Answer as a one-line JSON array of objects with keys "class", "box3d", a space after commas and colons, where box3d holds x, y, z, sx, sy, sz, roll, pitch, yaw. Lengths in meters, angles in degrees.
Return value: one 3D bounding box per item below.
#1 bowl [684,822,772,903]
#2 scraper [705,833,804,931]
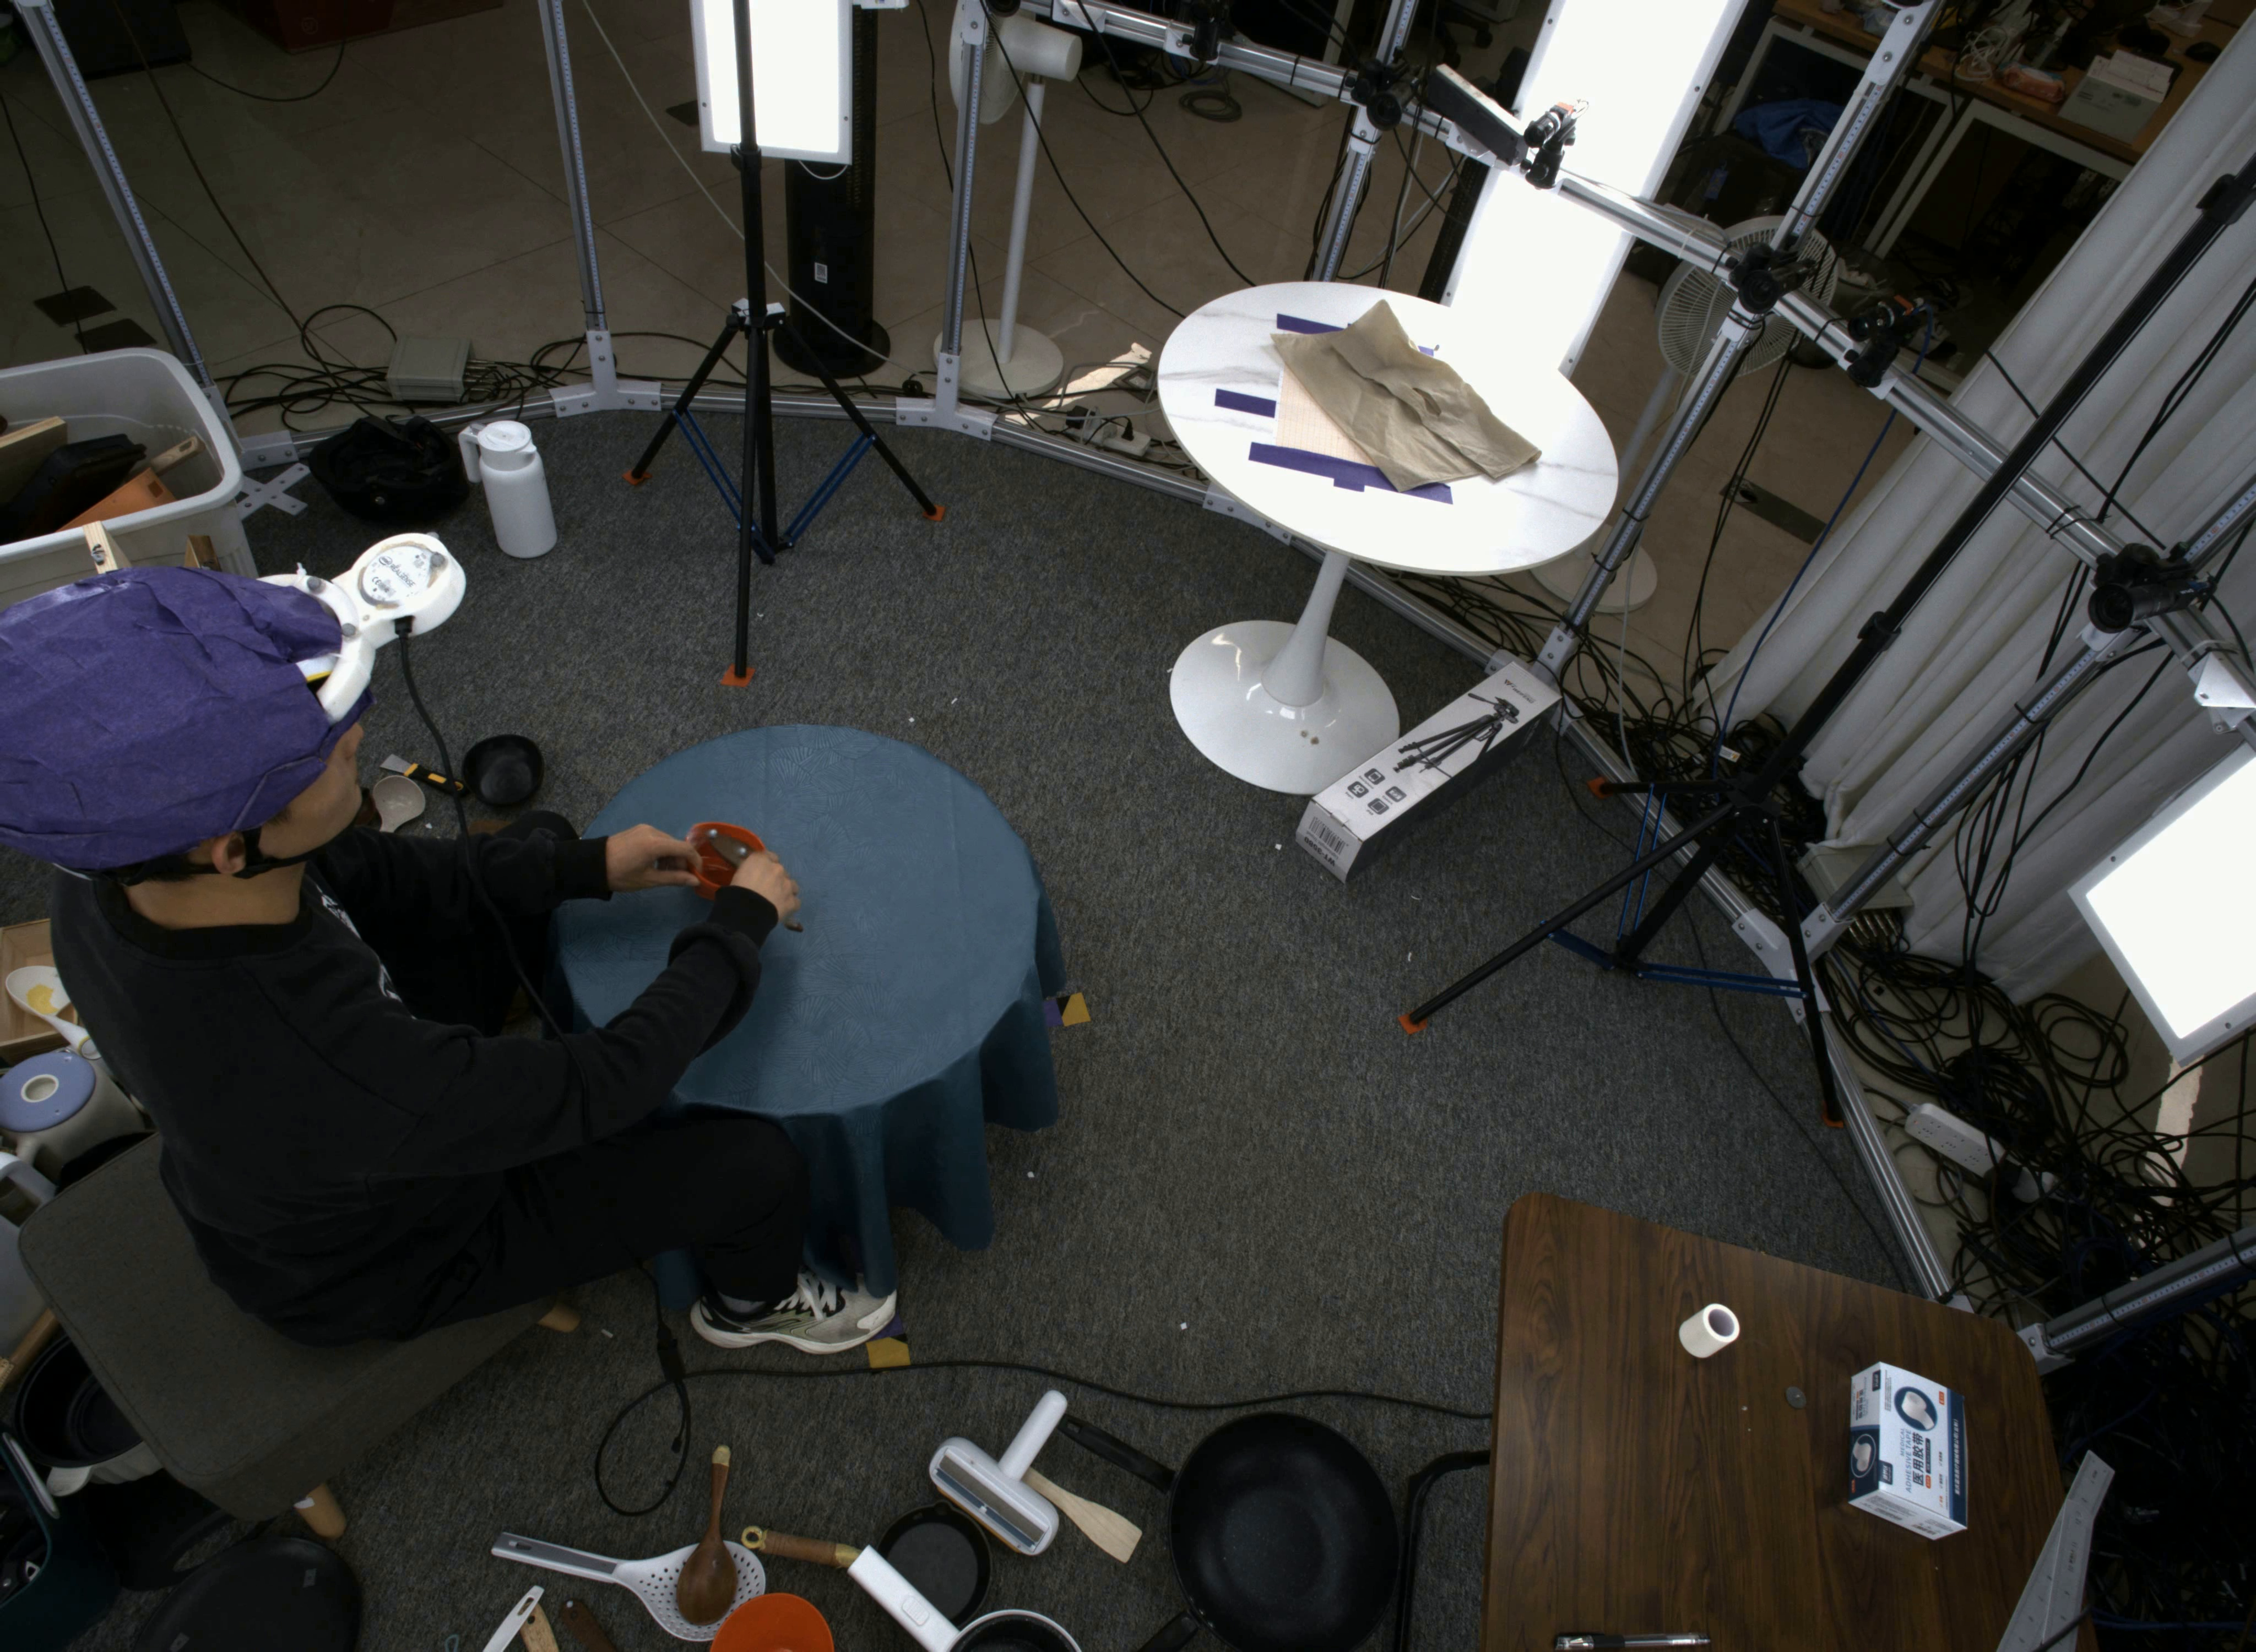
[{"class": "bowl", "box3d": [-0.509, 0.052, 1.620, 0.121, 0.051, 0.116, 30, 33, -20]}, {"class": "scraper", "box3d": [-0.449, 0.067, 1.574, 0.203, 0.011, 0.078, 40, 10, 39]}]
